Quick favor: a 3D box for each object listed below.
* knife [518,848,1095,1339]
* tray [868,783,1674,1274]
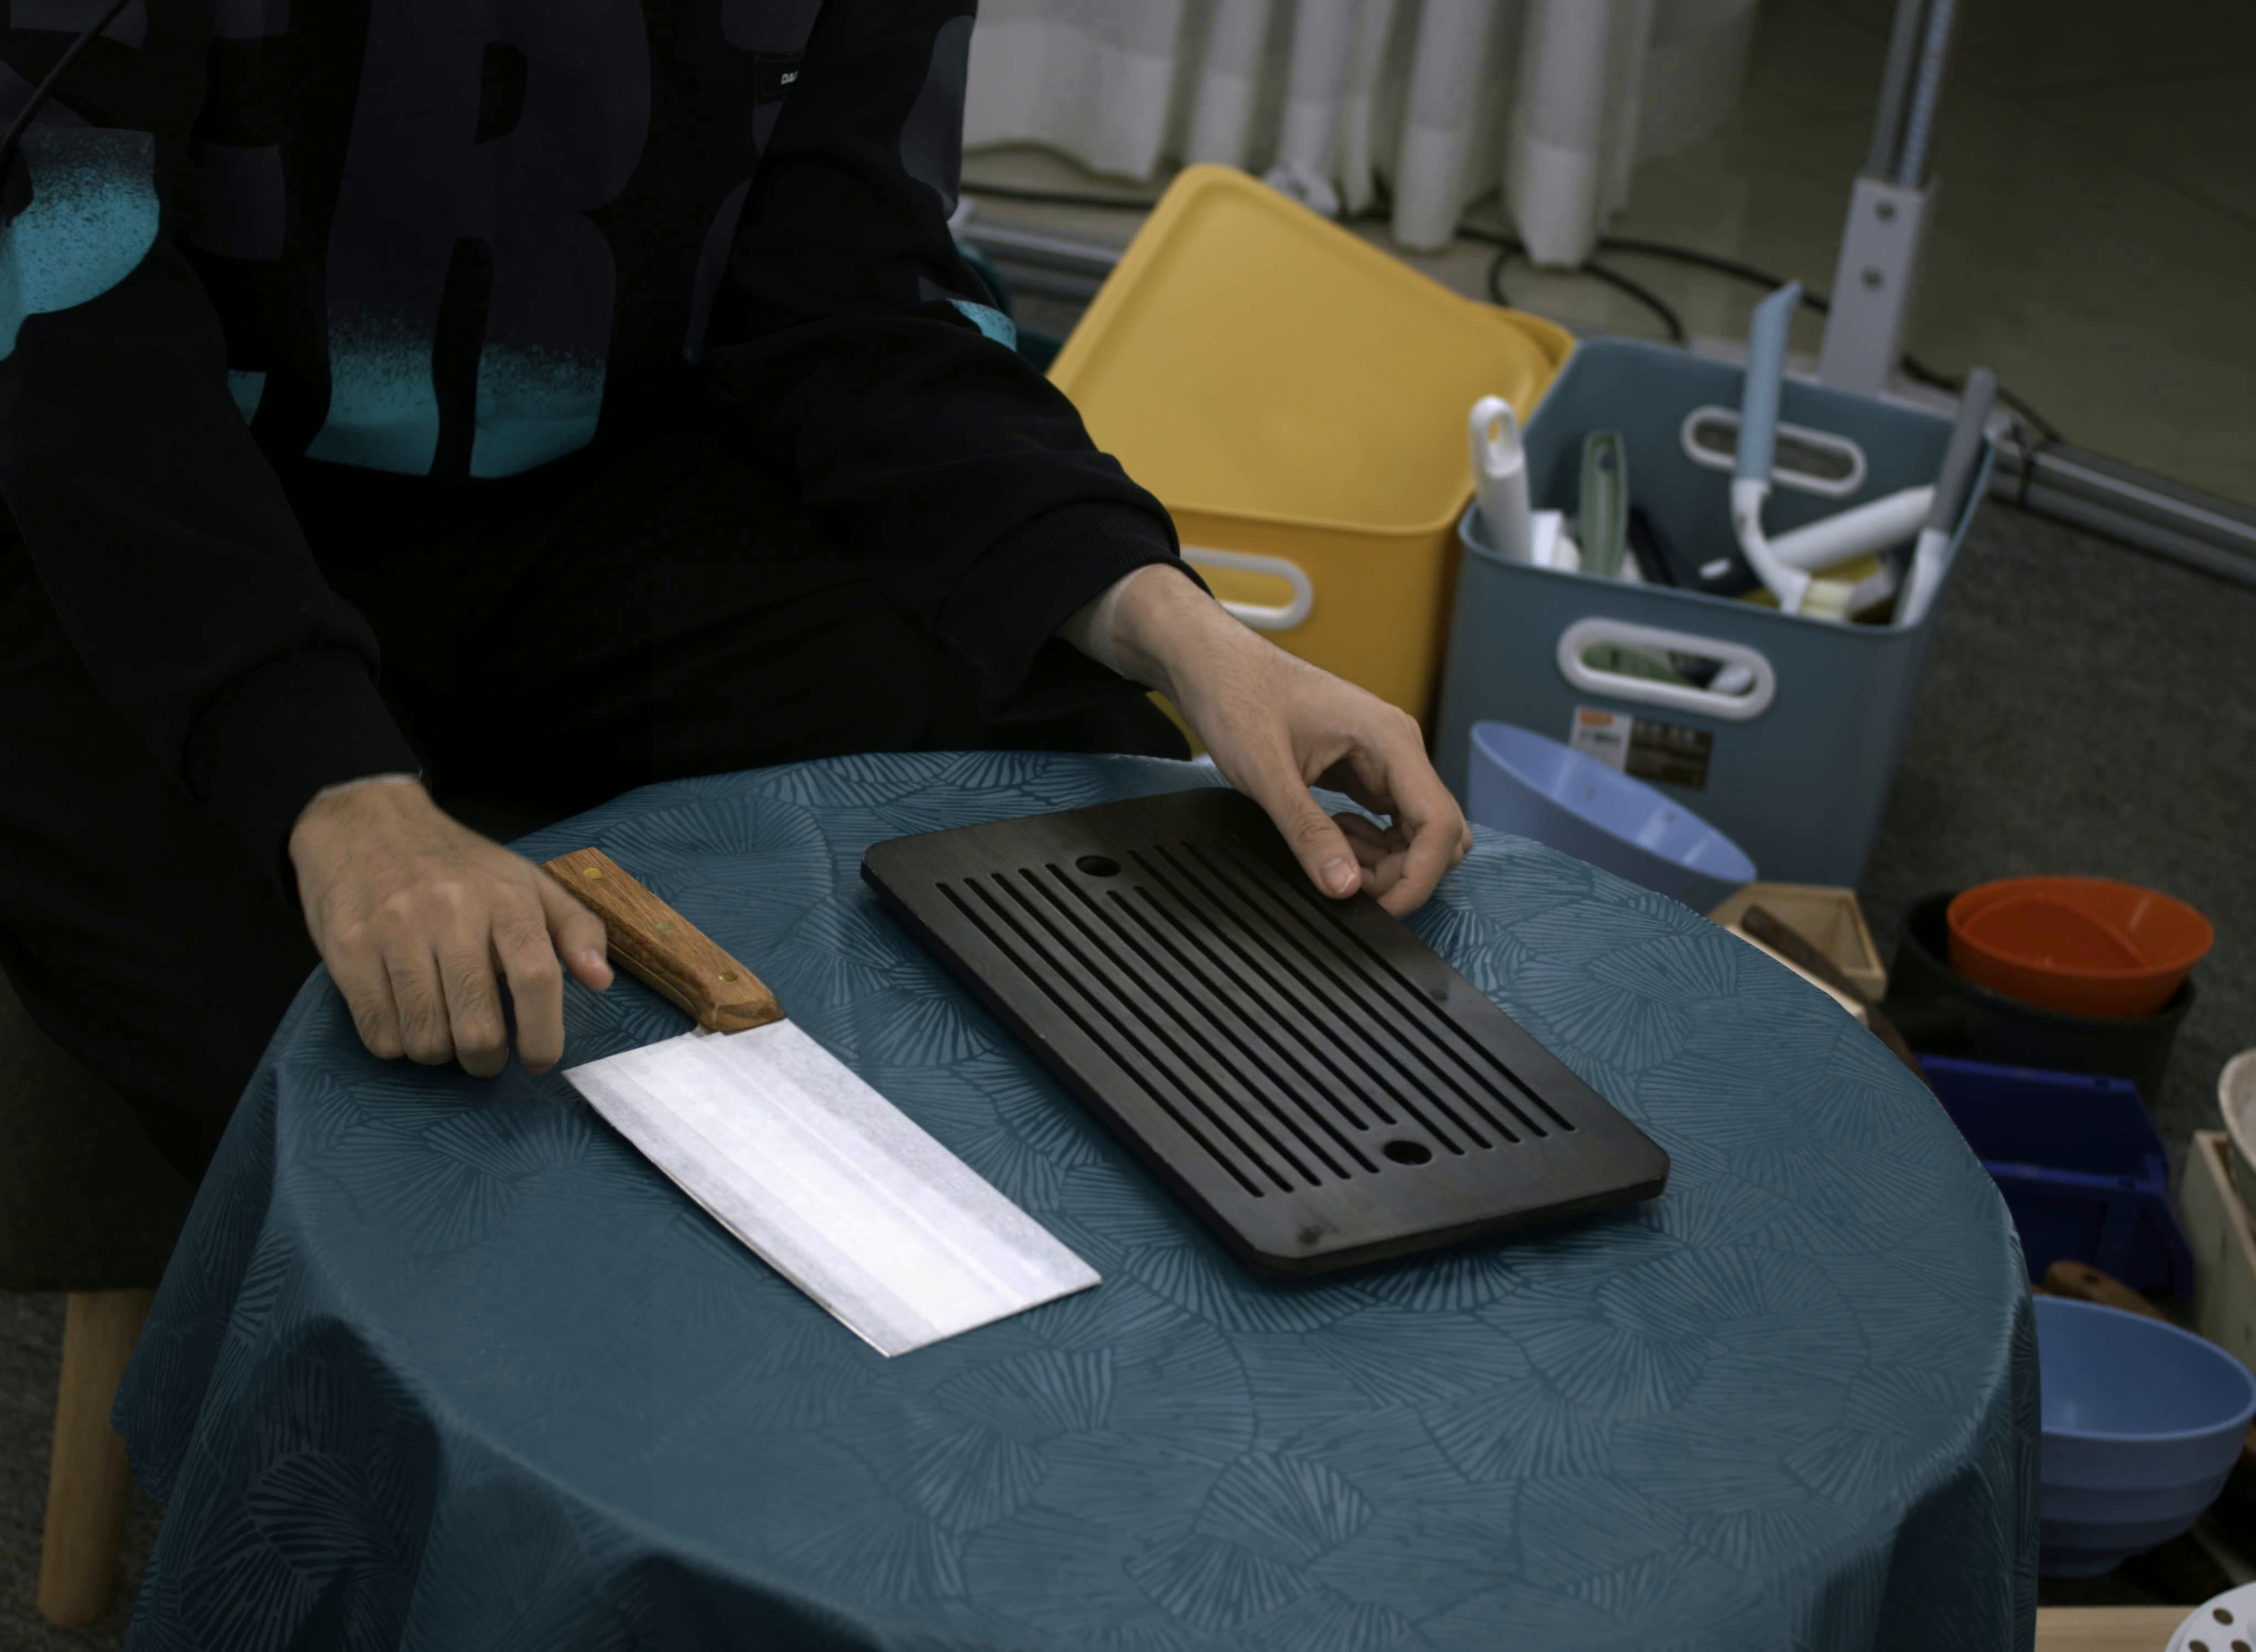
[{"bbox_3d":[-0.135,0.091,1.820,0.092,0.021,0.308,-17,37,-35],"label":"knife"},{"bbox_3d":[0.045,0.069,1.900,0.169,0.018,0.309,-10,31,-28],"label":"tray"}]
